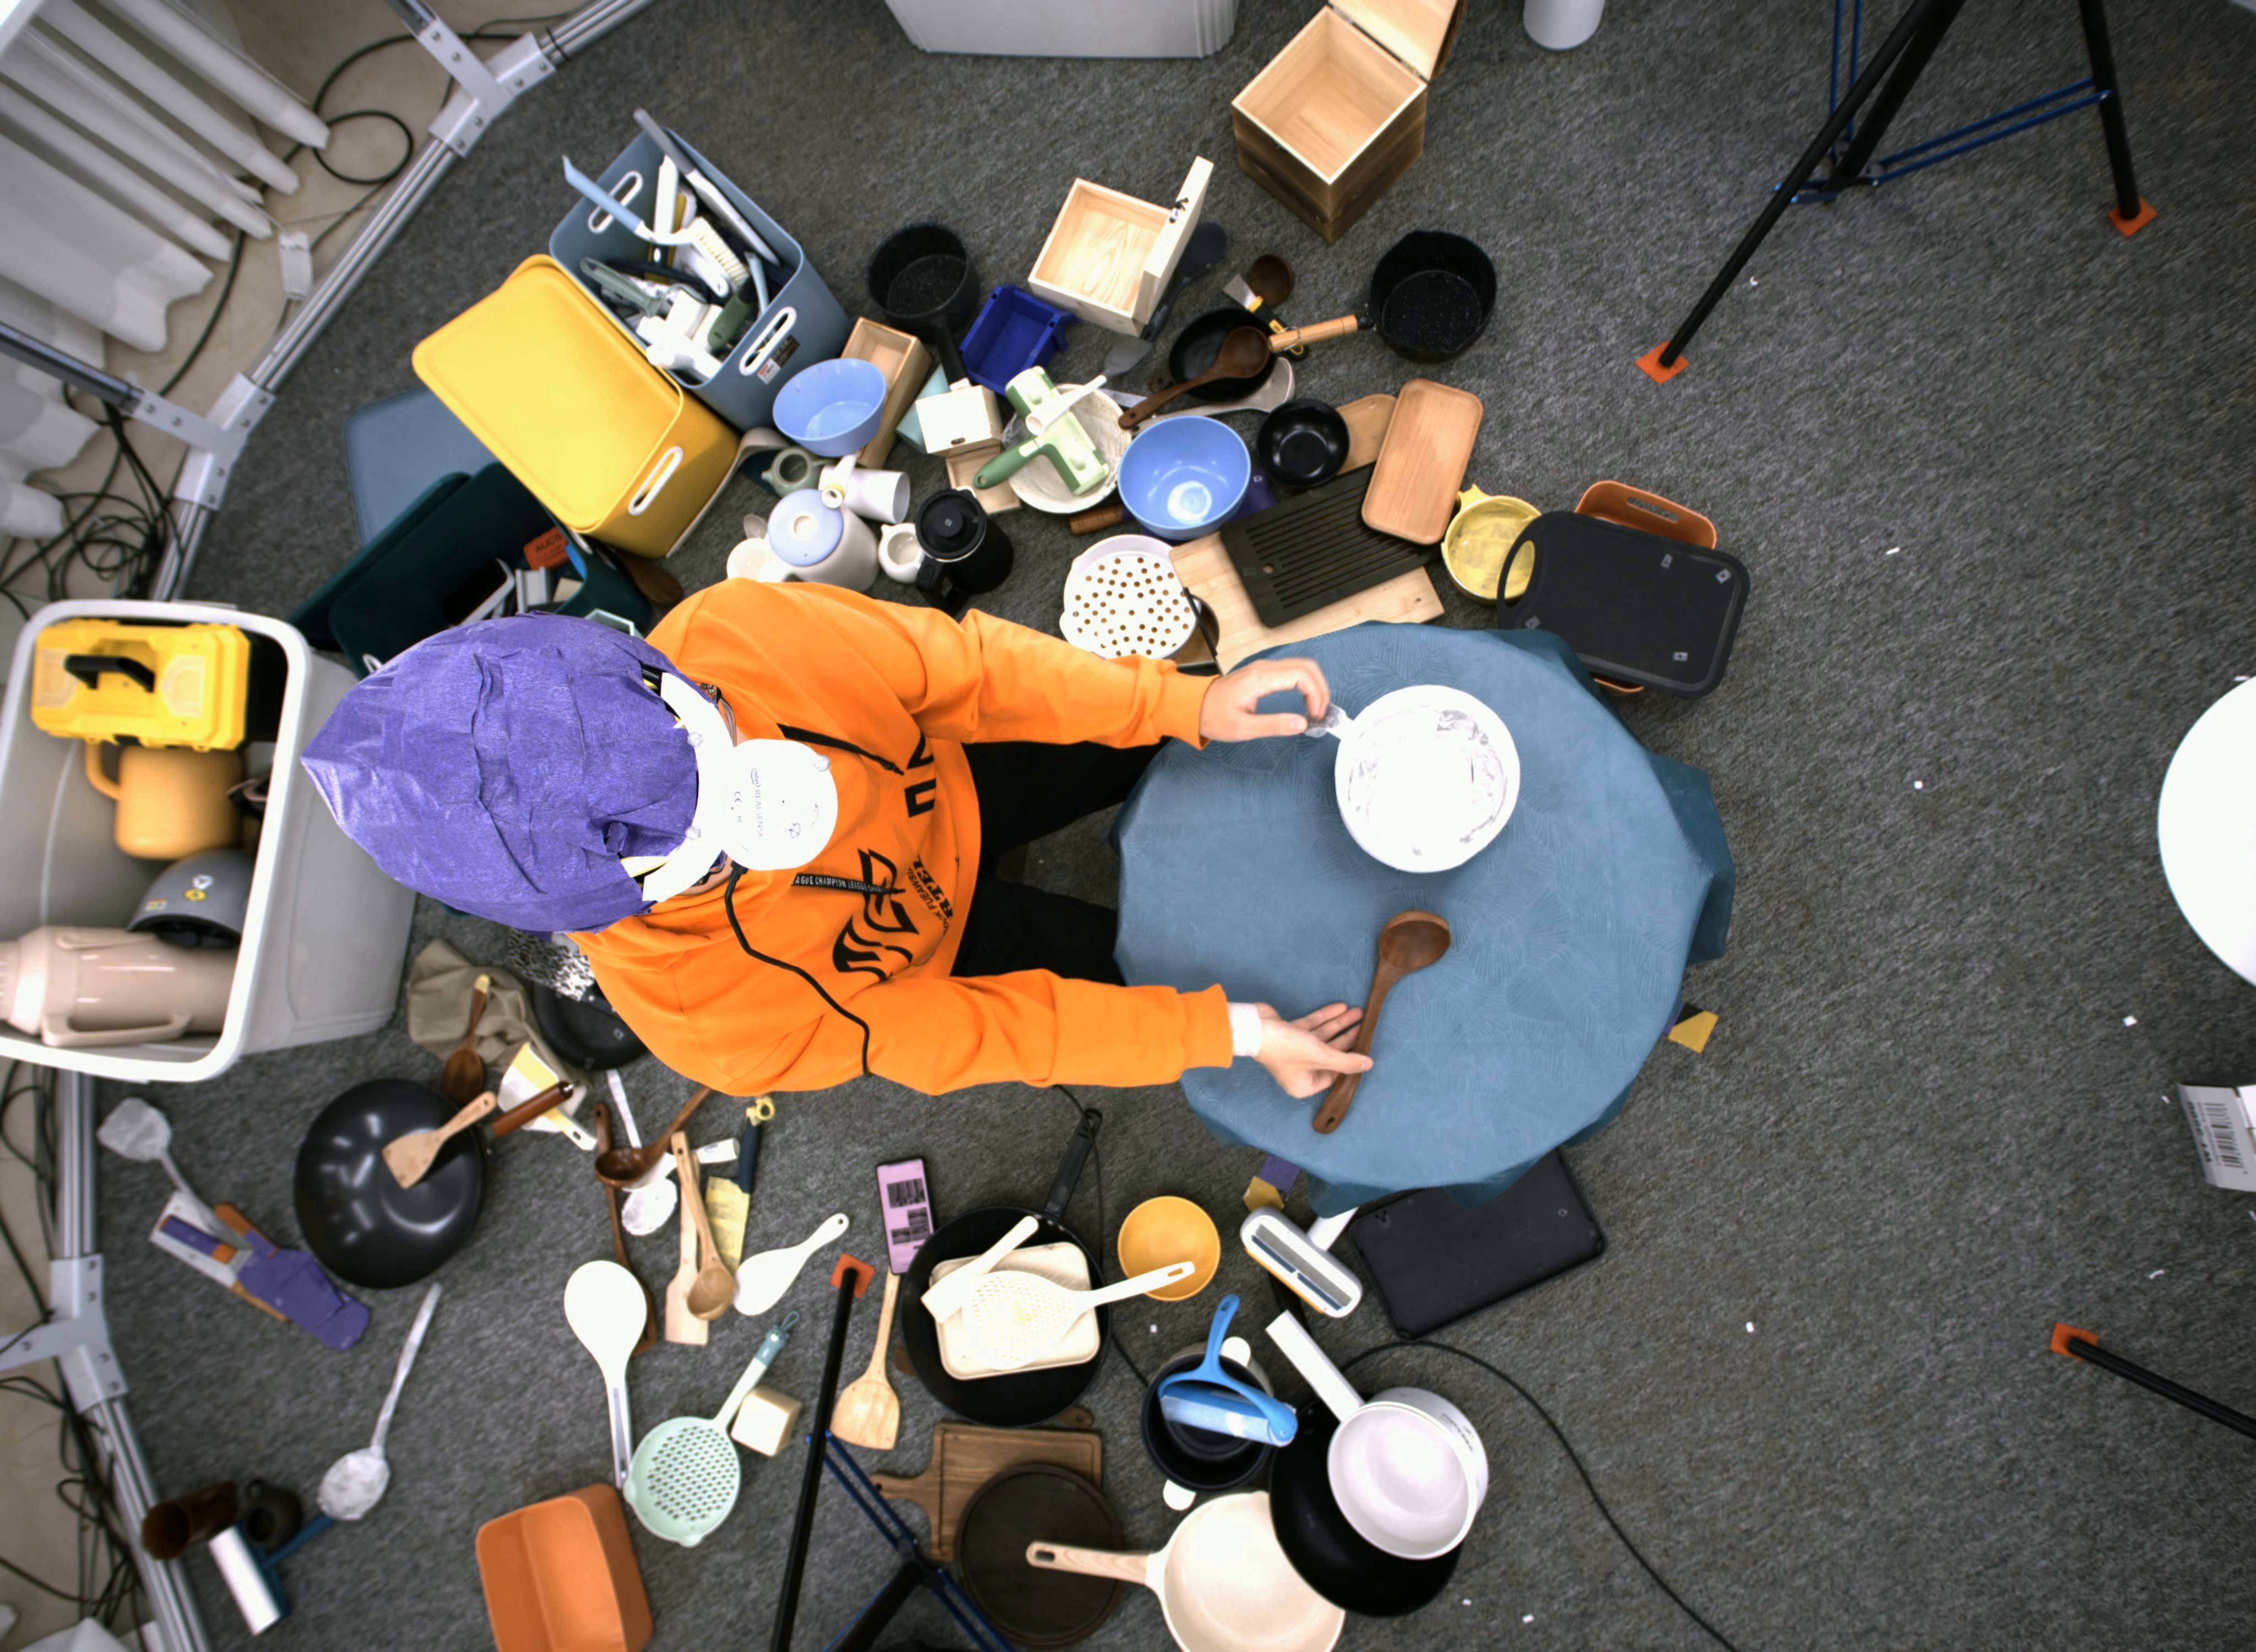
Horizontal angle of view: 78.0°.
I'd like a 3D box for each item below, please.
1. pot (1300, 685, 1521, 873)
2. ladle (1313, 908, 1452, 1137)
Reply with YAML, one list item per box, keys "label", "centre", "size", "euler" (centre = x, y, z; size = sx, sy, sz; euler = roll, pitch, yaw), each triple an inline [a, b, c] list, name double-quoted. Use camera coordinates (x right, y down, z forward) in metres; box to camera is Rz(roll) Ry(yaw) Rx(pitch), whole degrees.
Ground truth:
- label: "pot"
  centre: [0.276, -0.059, 1.396]
  size: [0.233, 0.137, 0.179]
  euler: [32, 91, 11]
- label: "ladle"
  centre: [0.257, 0.205, 1.424]
  size: [0.077, 0.065, 0.260]
  euler: [23, 90, -13]
